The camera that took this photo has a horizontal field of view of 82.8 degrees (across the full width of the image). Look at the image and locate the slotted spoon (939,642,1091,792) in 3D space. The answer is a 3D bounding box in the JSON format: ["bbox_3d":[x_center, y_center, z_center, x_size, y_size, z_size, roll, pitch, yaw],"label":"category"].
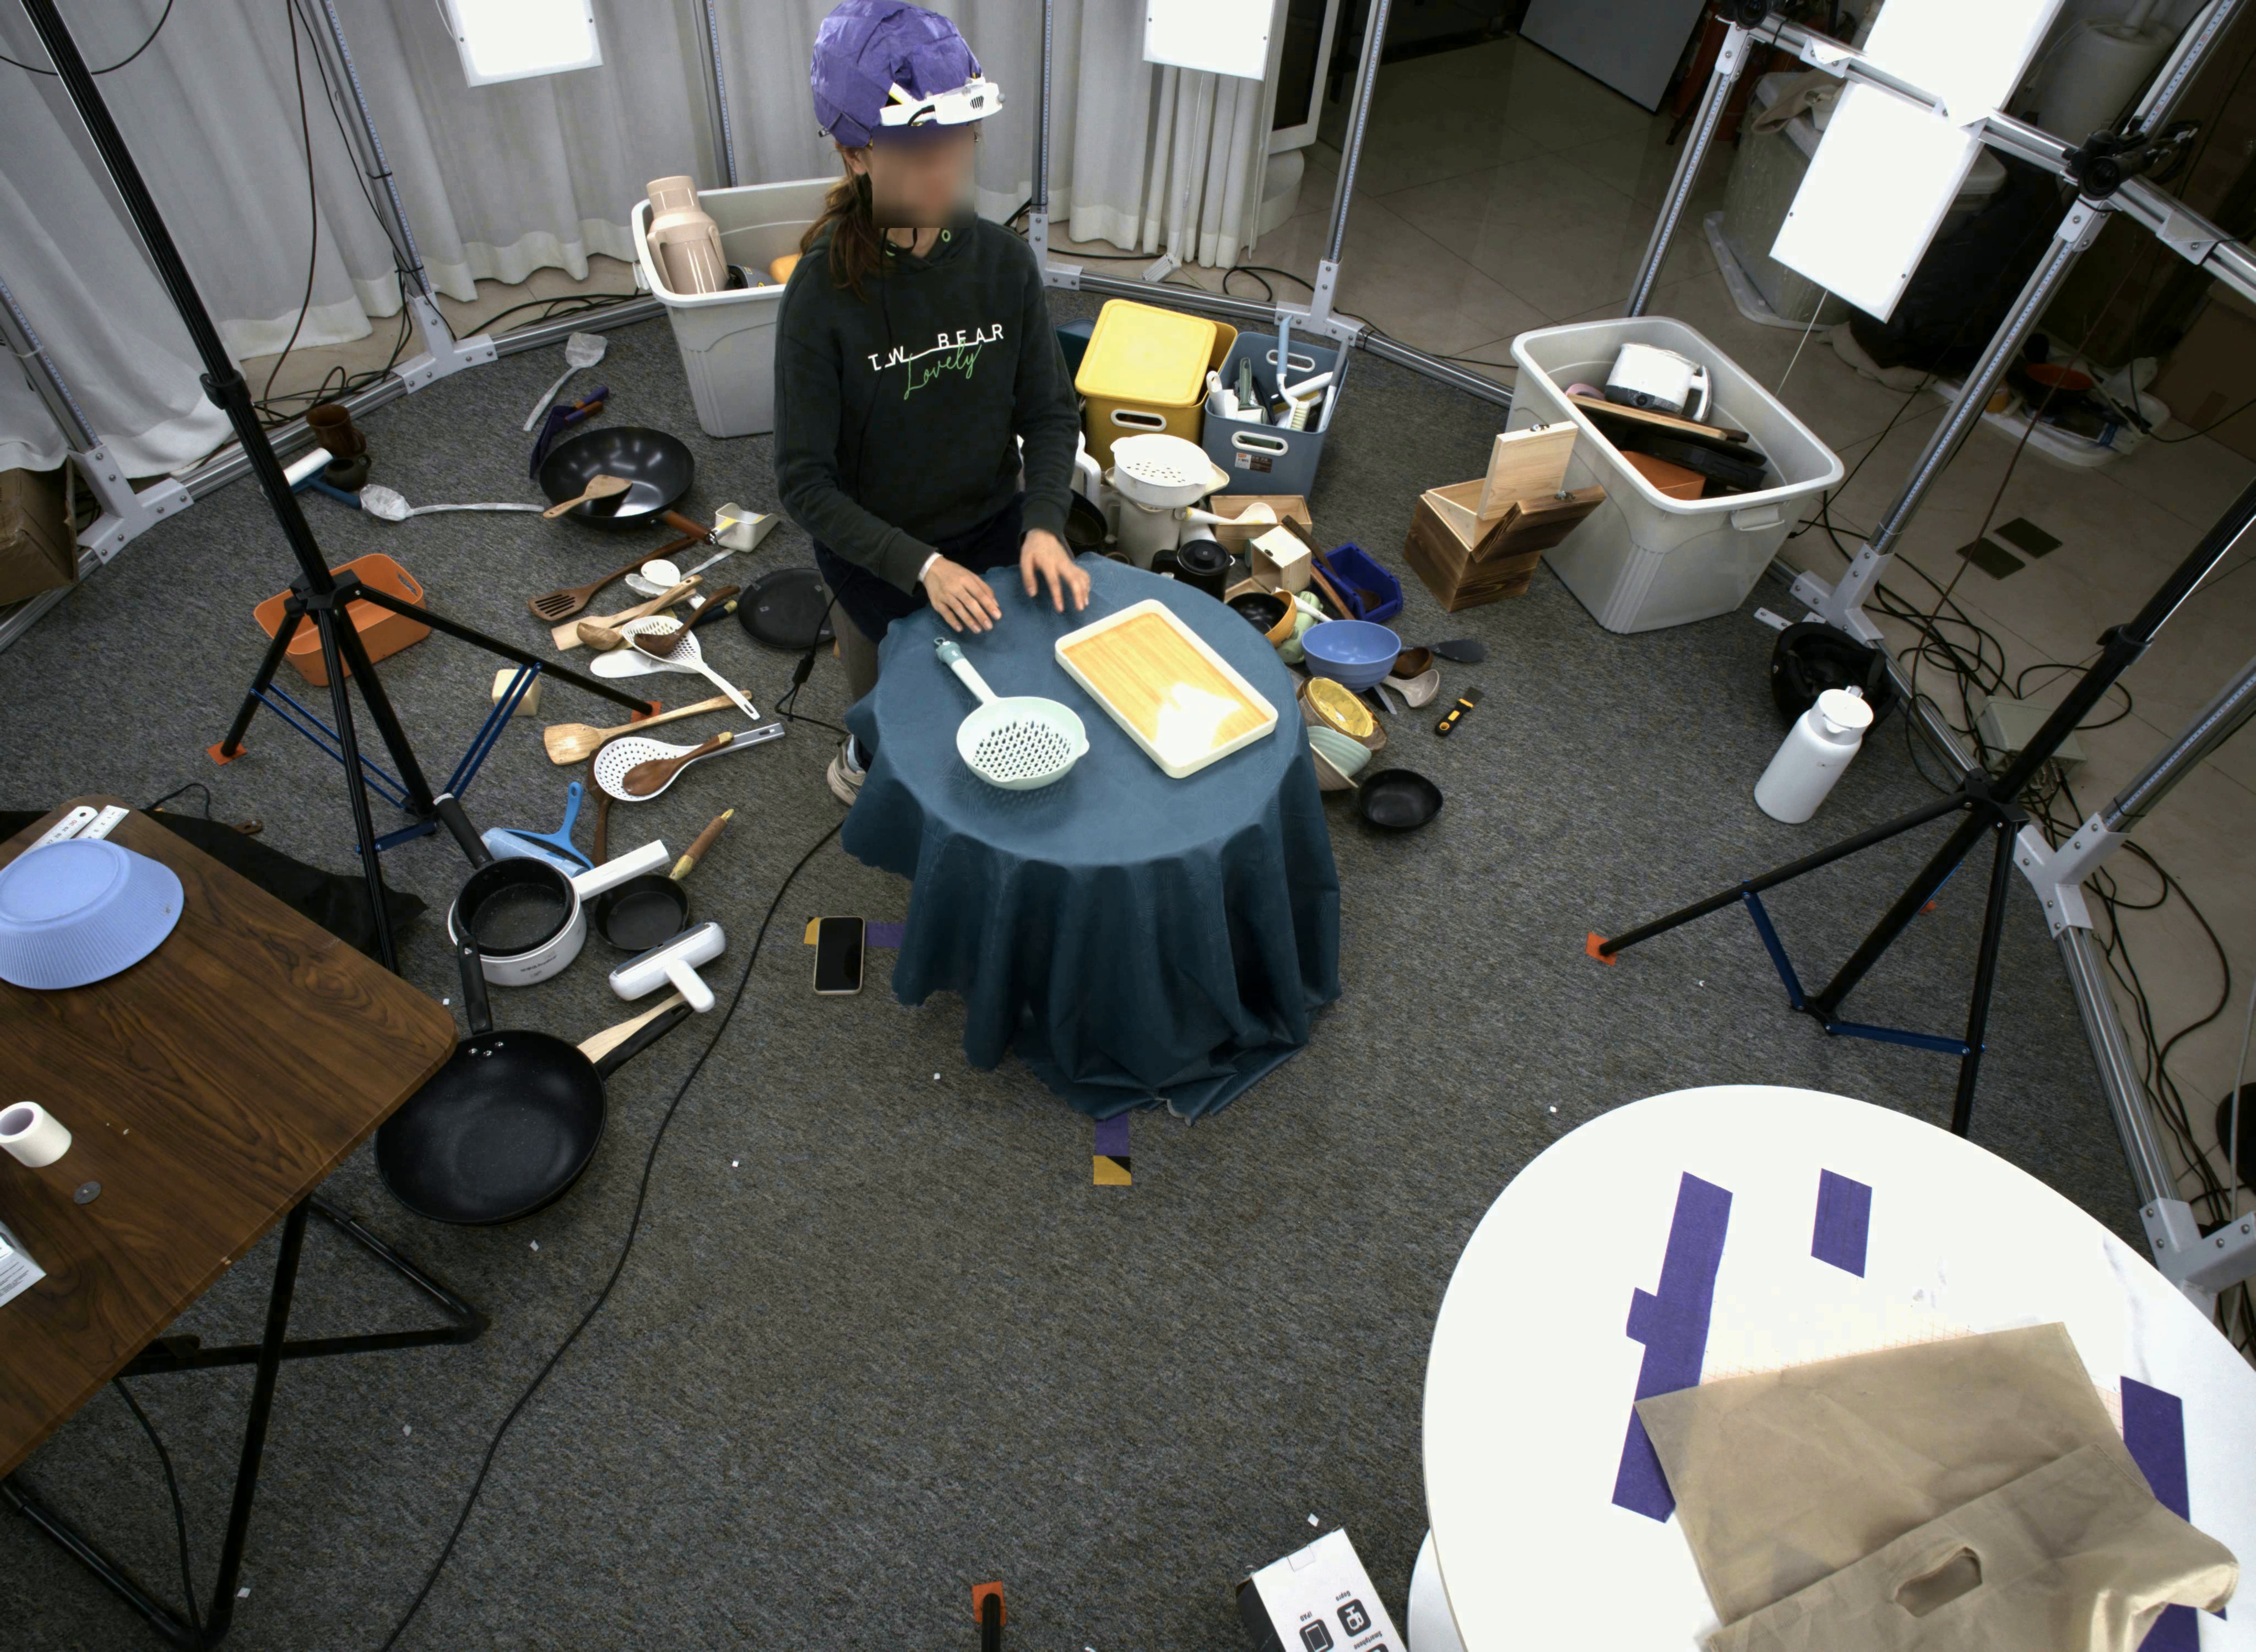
[{"bbox_3d":[-0.187,-0.167,1.775,0.170,0.073,0.366,-20,53,-21],"label":"slotted spoon"}]

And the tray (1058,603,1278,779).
[{"bbox_3d":[0.054,-0.201,1.846,0.192,0.027,0.306,-27,56,-24],"label":"tray"}]
